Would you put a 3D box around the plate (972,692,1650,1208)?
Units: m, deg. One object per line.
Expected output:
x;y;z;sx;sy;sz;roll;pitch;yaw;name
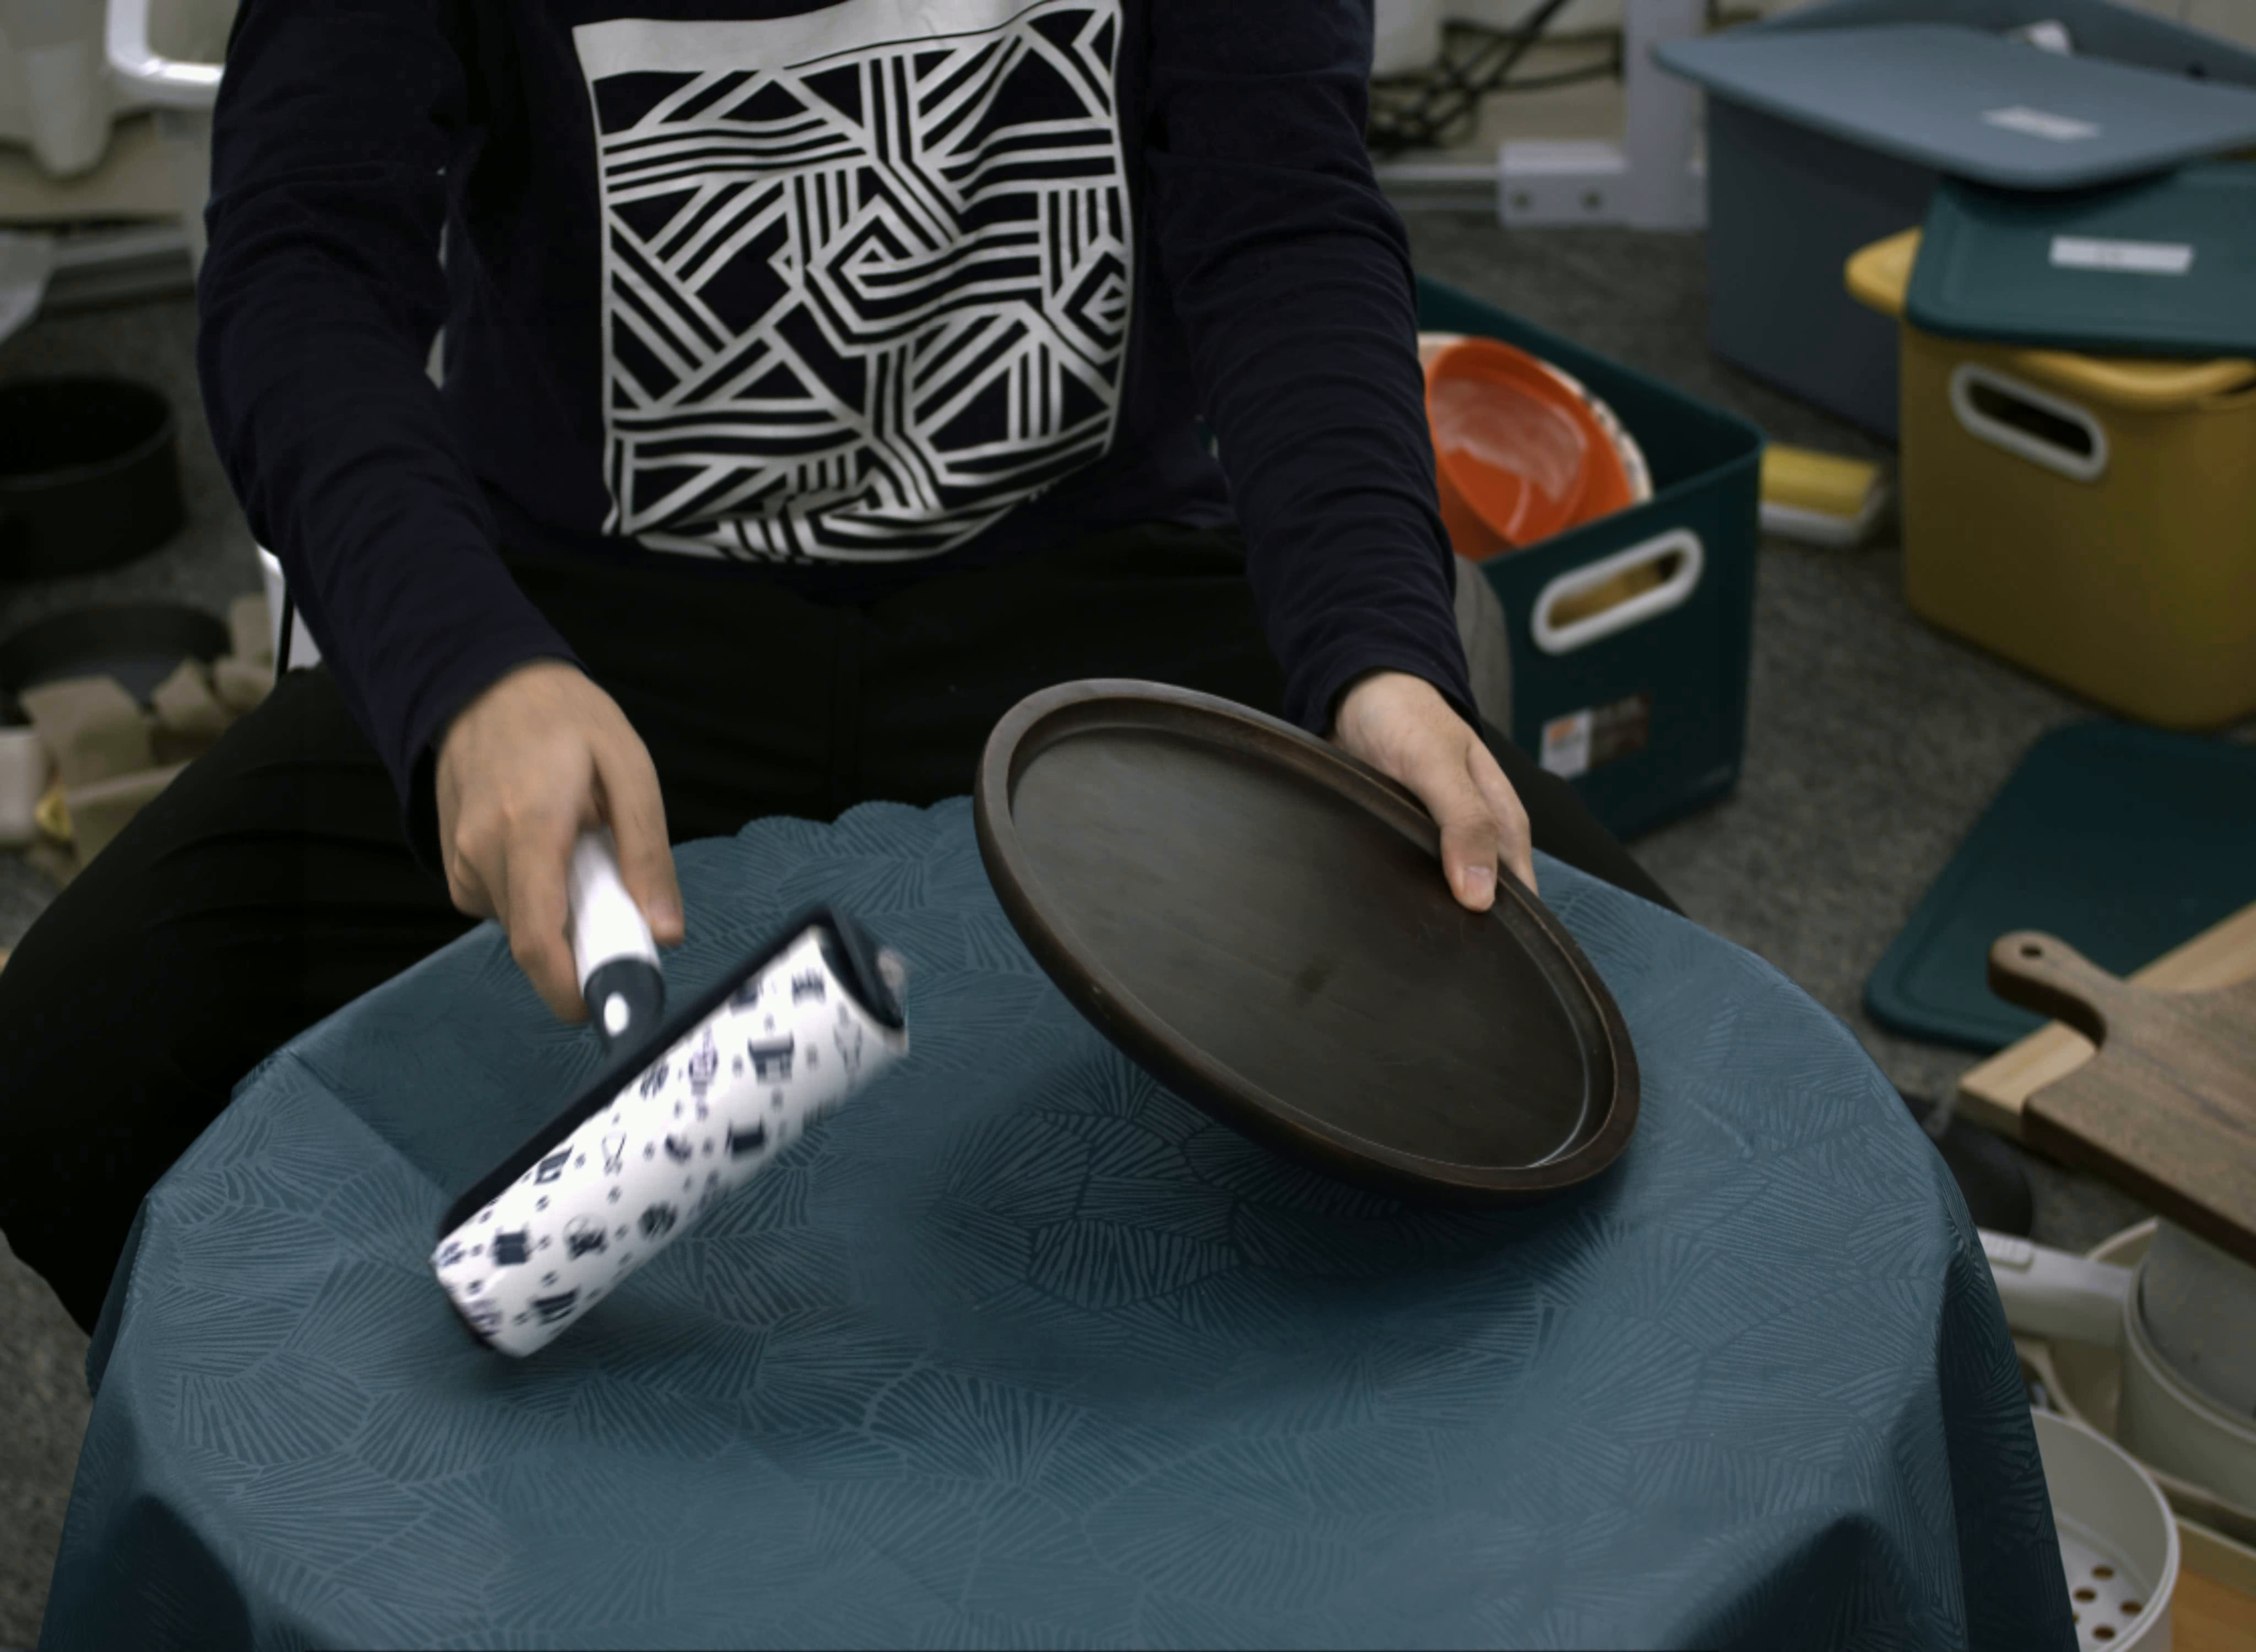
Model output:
0.059;0.040;1.868;0.254;0.028;0.259;26;26;-13;plate

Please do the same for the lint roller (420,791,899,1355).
-0.170;0.053;1.849;0.175;0.050;0.250;-37;32;7;lint roller
